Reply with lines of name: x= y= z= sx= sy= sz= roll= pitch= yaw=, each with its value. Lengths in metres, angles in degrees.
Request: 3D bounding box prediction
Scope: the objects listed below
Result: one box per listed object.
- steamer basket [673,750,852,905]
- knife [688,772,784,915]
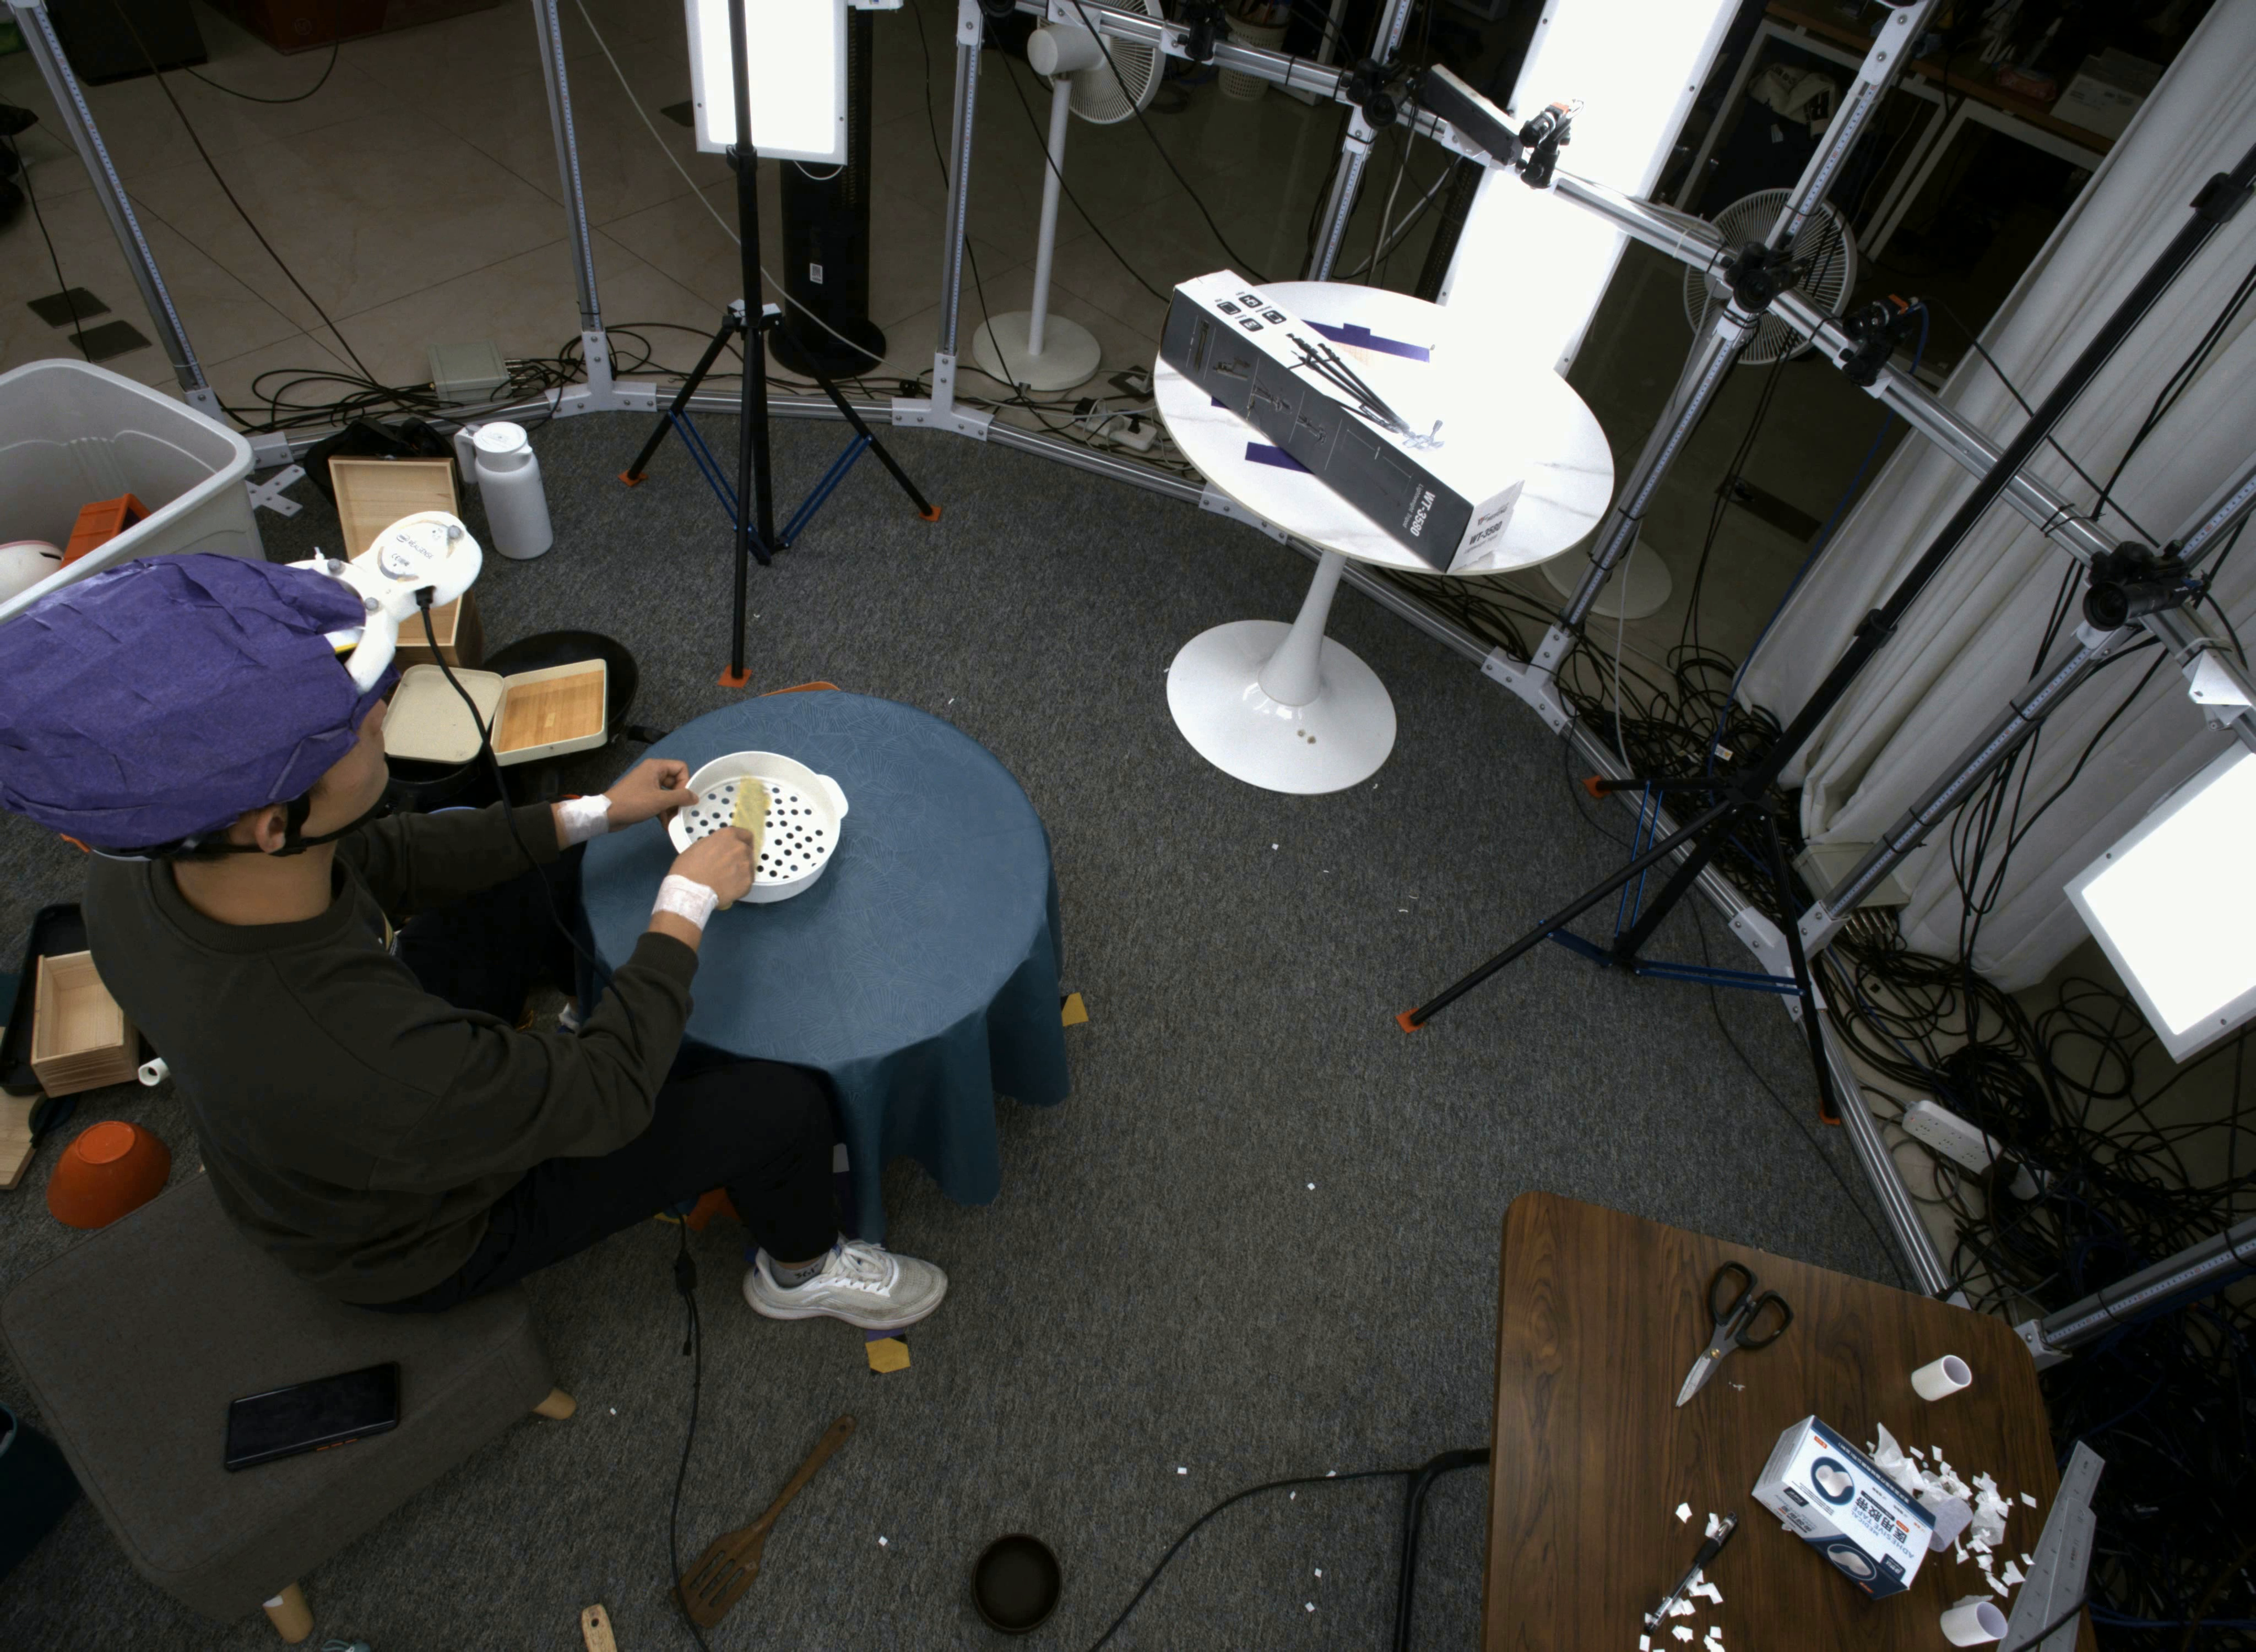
steamer basket: x=-0.469 y=0.001 z=1.665 sx=0.232 sy=0.070 sz=0.198 roll=-20 pitch=69 yaw=-32
knife: x=-0.481 y=0.019 z=1.599 sx=0.083 sy=0.027 sz=0.284 roll=50 pitch=26 yaw=-25
